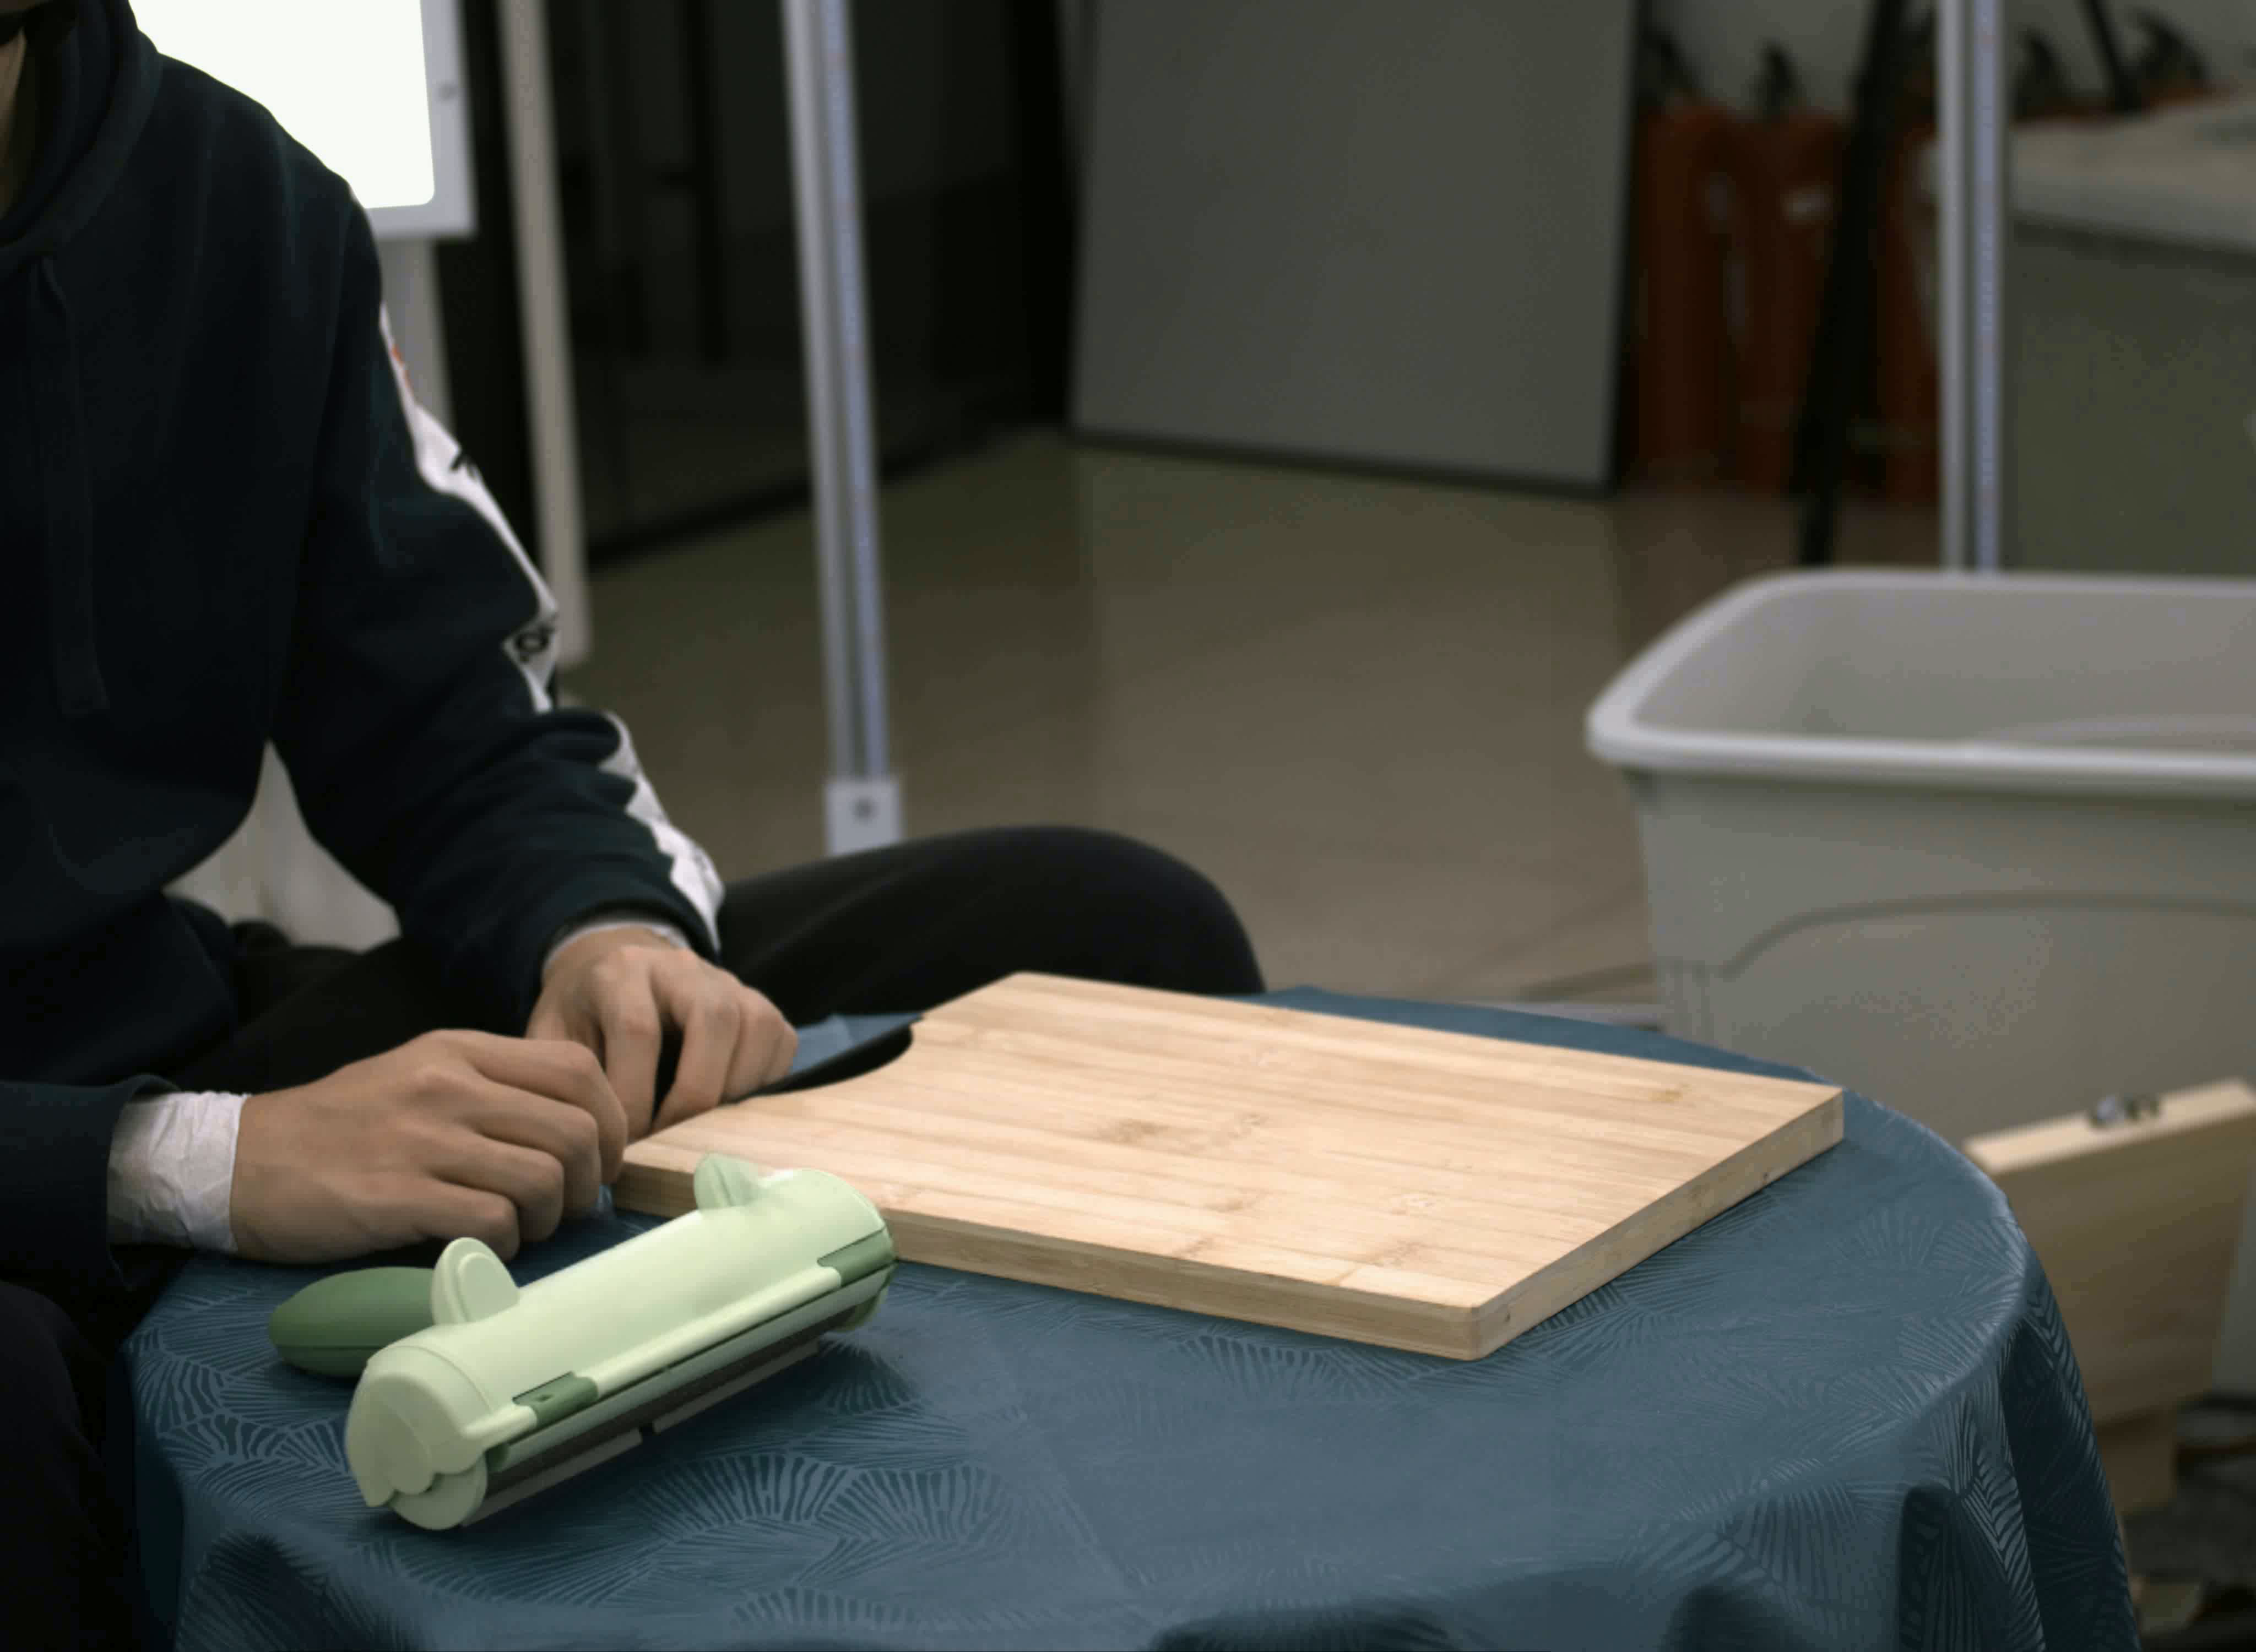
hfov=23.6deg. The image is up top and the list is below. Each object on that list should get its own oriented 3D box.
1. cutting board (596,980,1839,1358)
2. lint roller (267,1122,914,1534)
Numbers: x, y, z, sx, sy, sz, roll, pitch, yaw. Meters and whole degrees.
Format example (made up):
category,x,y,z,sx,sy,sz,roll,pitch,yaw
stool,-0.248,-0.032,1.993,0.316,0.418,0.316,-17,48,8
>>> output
category,x,y,z,sx,sy,sz,roll,pitch,yaw
cutting board,0.029,0.108,1.784,0.351,0.024,0.246,6,17,35
lint roller,-0.189,0.135,1.603,0.184,0.083,0.195,10,20,36
